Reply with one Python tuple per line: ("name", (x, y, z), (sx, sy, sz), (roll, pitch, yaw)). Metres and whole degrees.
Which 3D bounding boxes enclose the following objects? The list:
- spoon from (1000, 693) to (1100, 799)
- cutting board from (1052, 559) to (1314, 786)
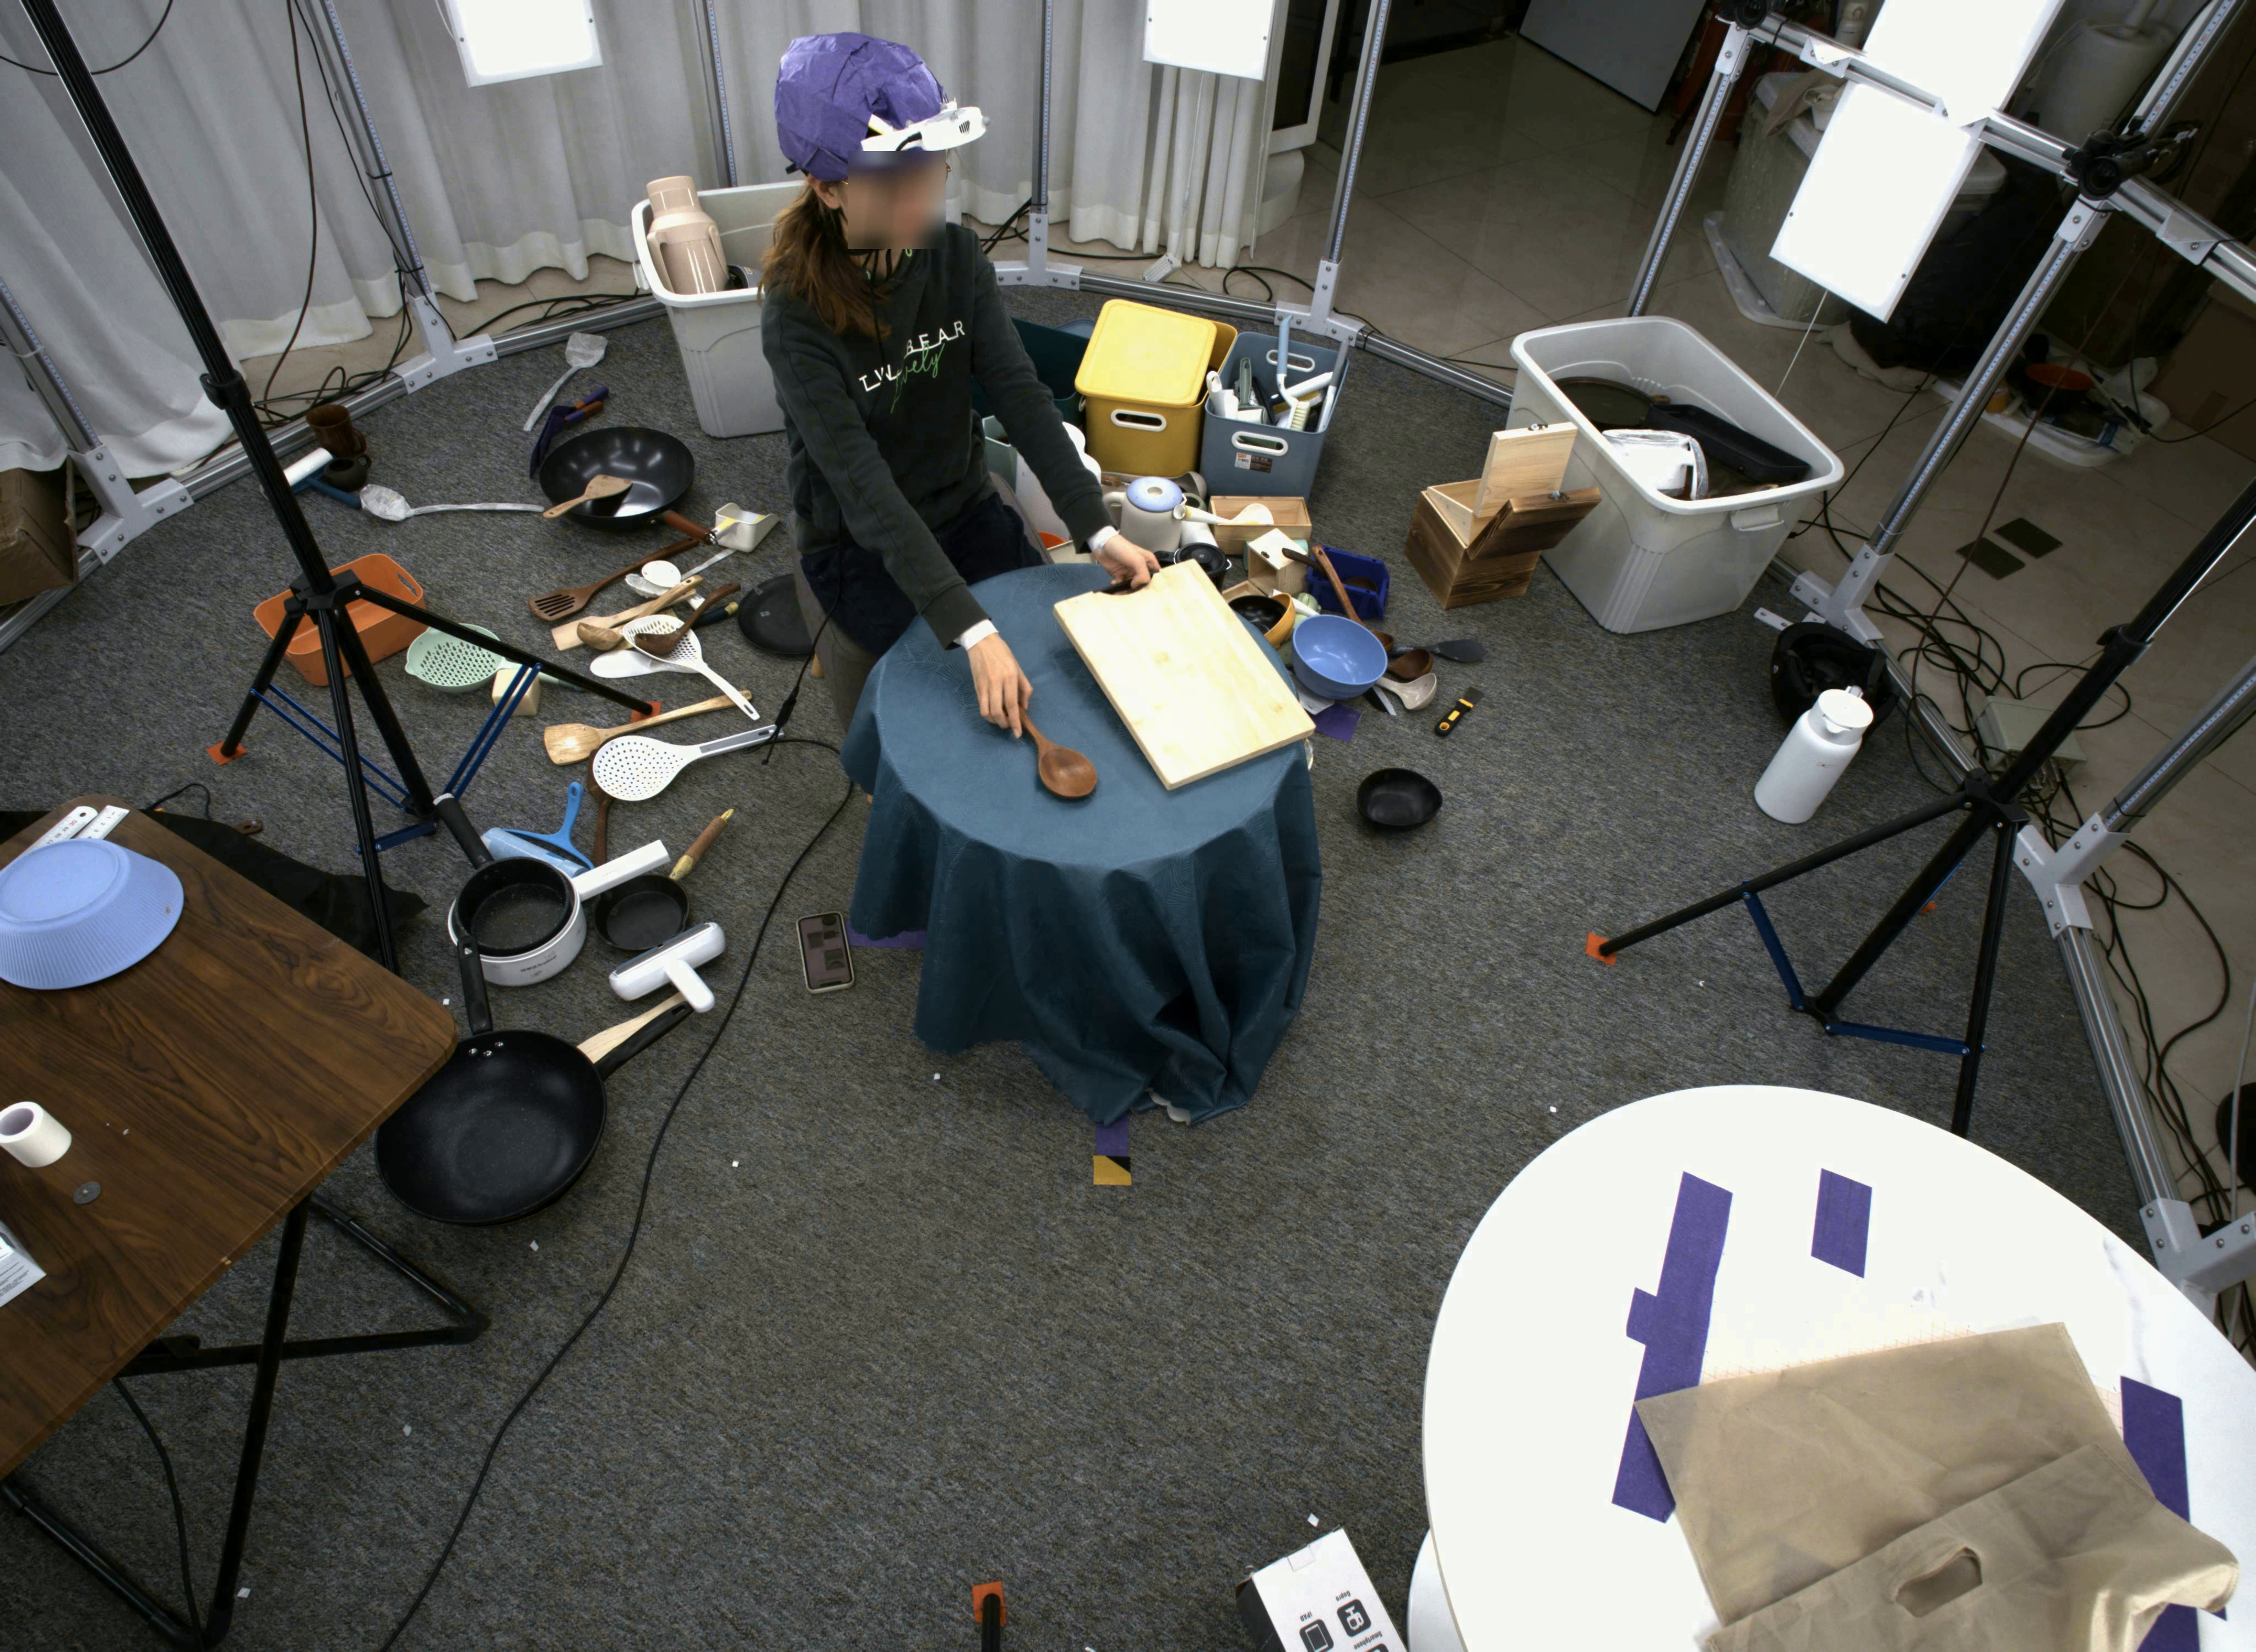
("spoon", (-0.114, -0.111, 1.759), (0.076, 0.017, 0.220), (-26, 57, -22))
("cutting board", (0.075, -0.227, 1.844), (0.251, 0.023, 0.355), (-22, 62, -22))
